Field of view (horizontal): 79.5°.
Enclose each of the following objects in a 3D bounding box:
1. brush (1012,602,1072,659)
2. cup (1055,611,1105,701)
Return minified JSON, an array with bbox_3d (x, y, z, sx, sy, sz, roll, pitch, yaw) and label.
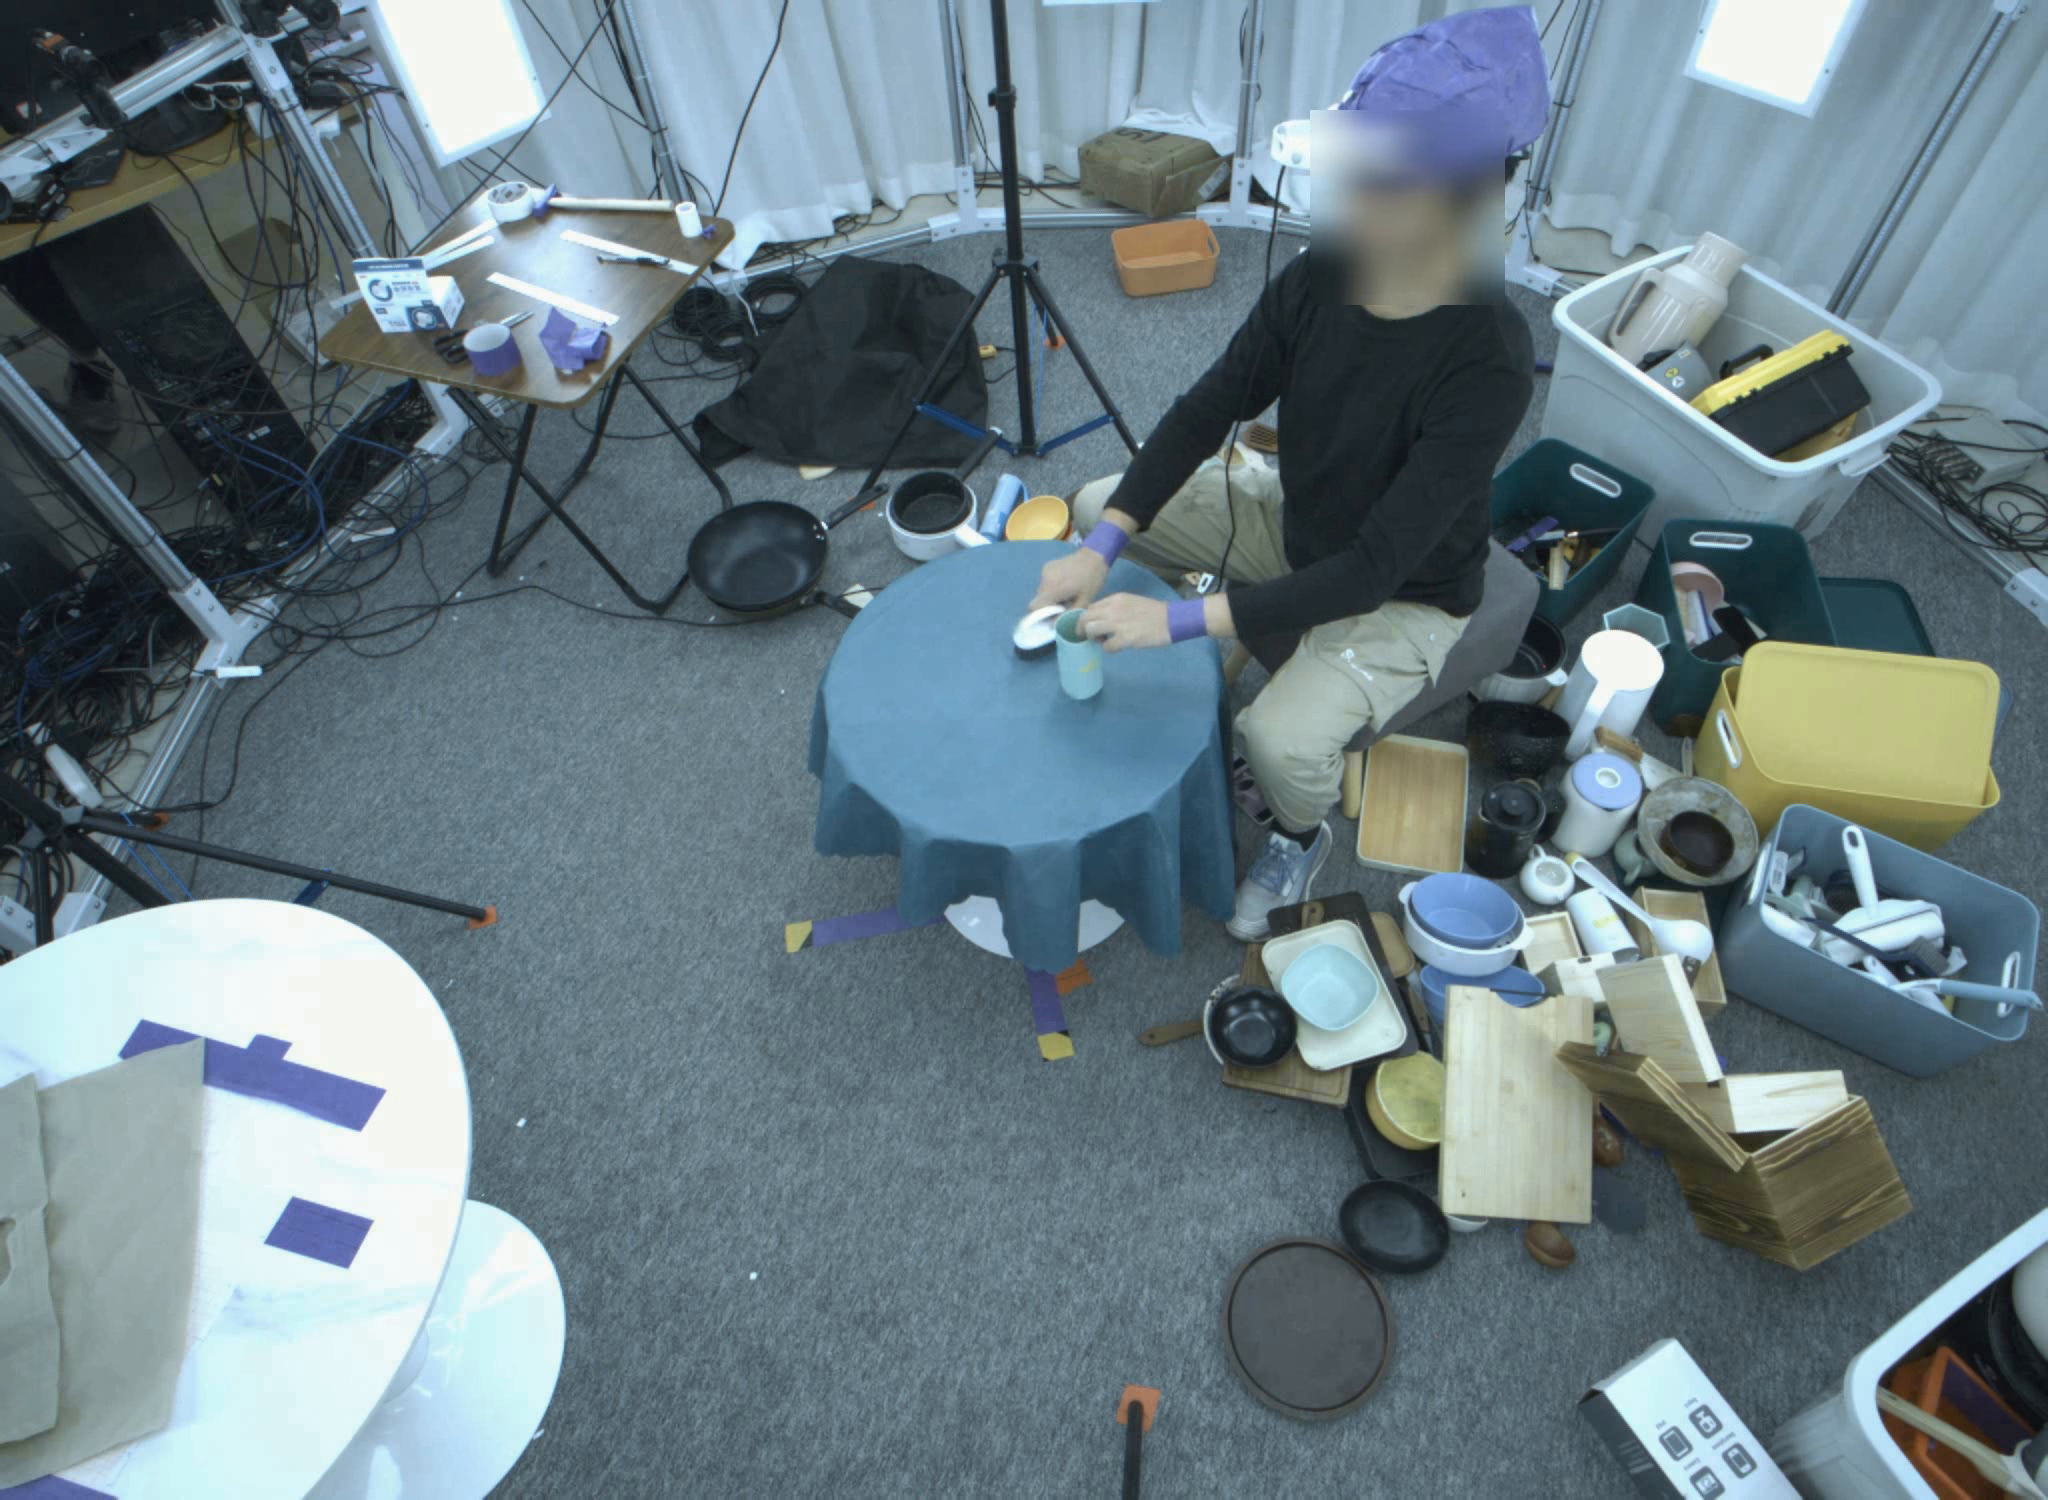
[{"bbox_3d":[0.028,-0.190,1.878,0.100,0.073,0.049,-26,58,-14],"label":"brush"},{"bbox_3d":[0.082,-0.137,1.807,0.066,0.134,0.066,-3,56,5],"label":"cup"}]
